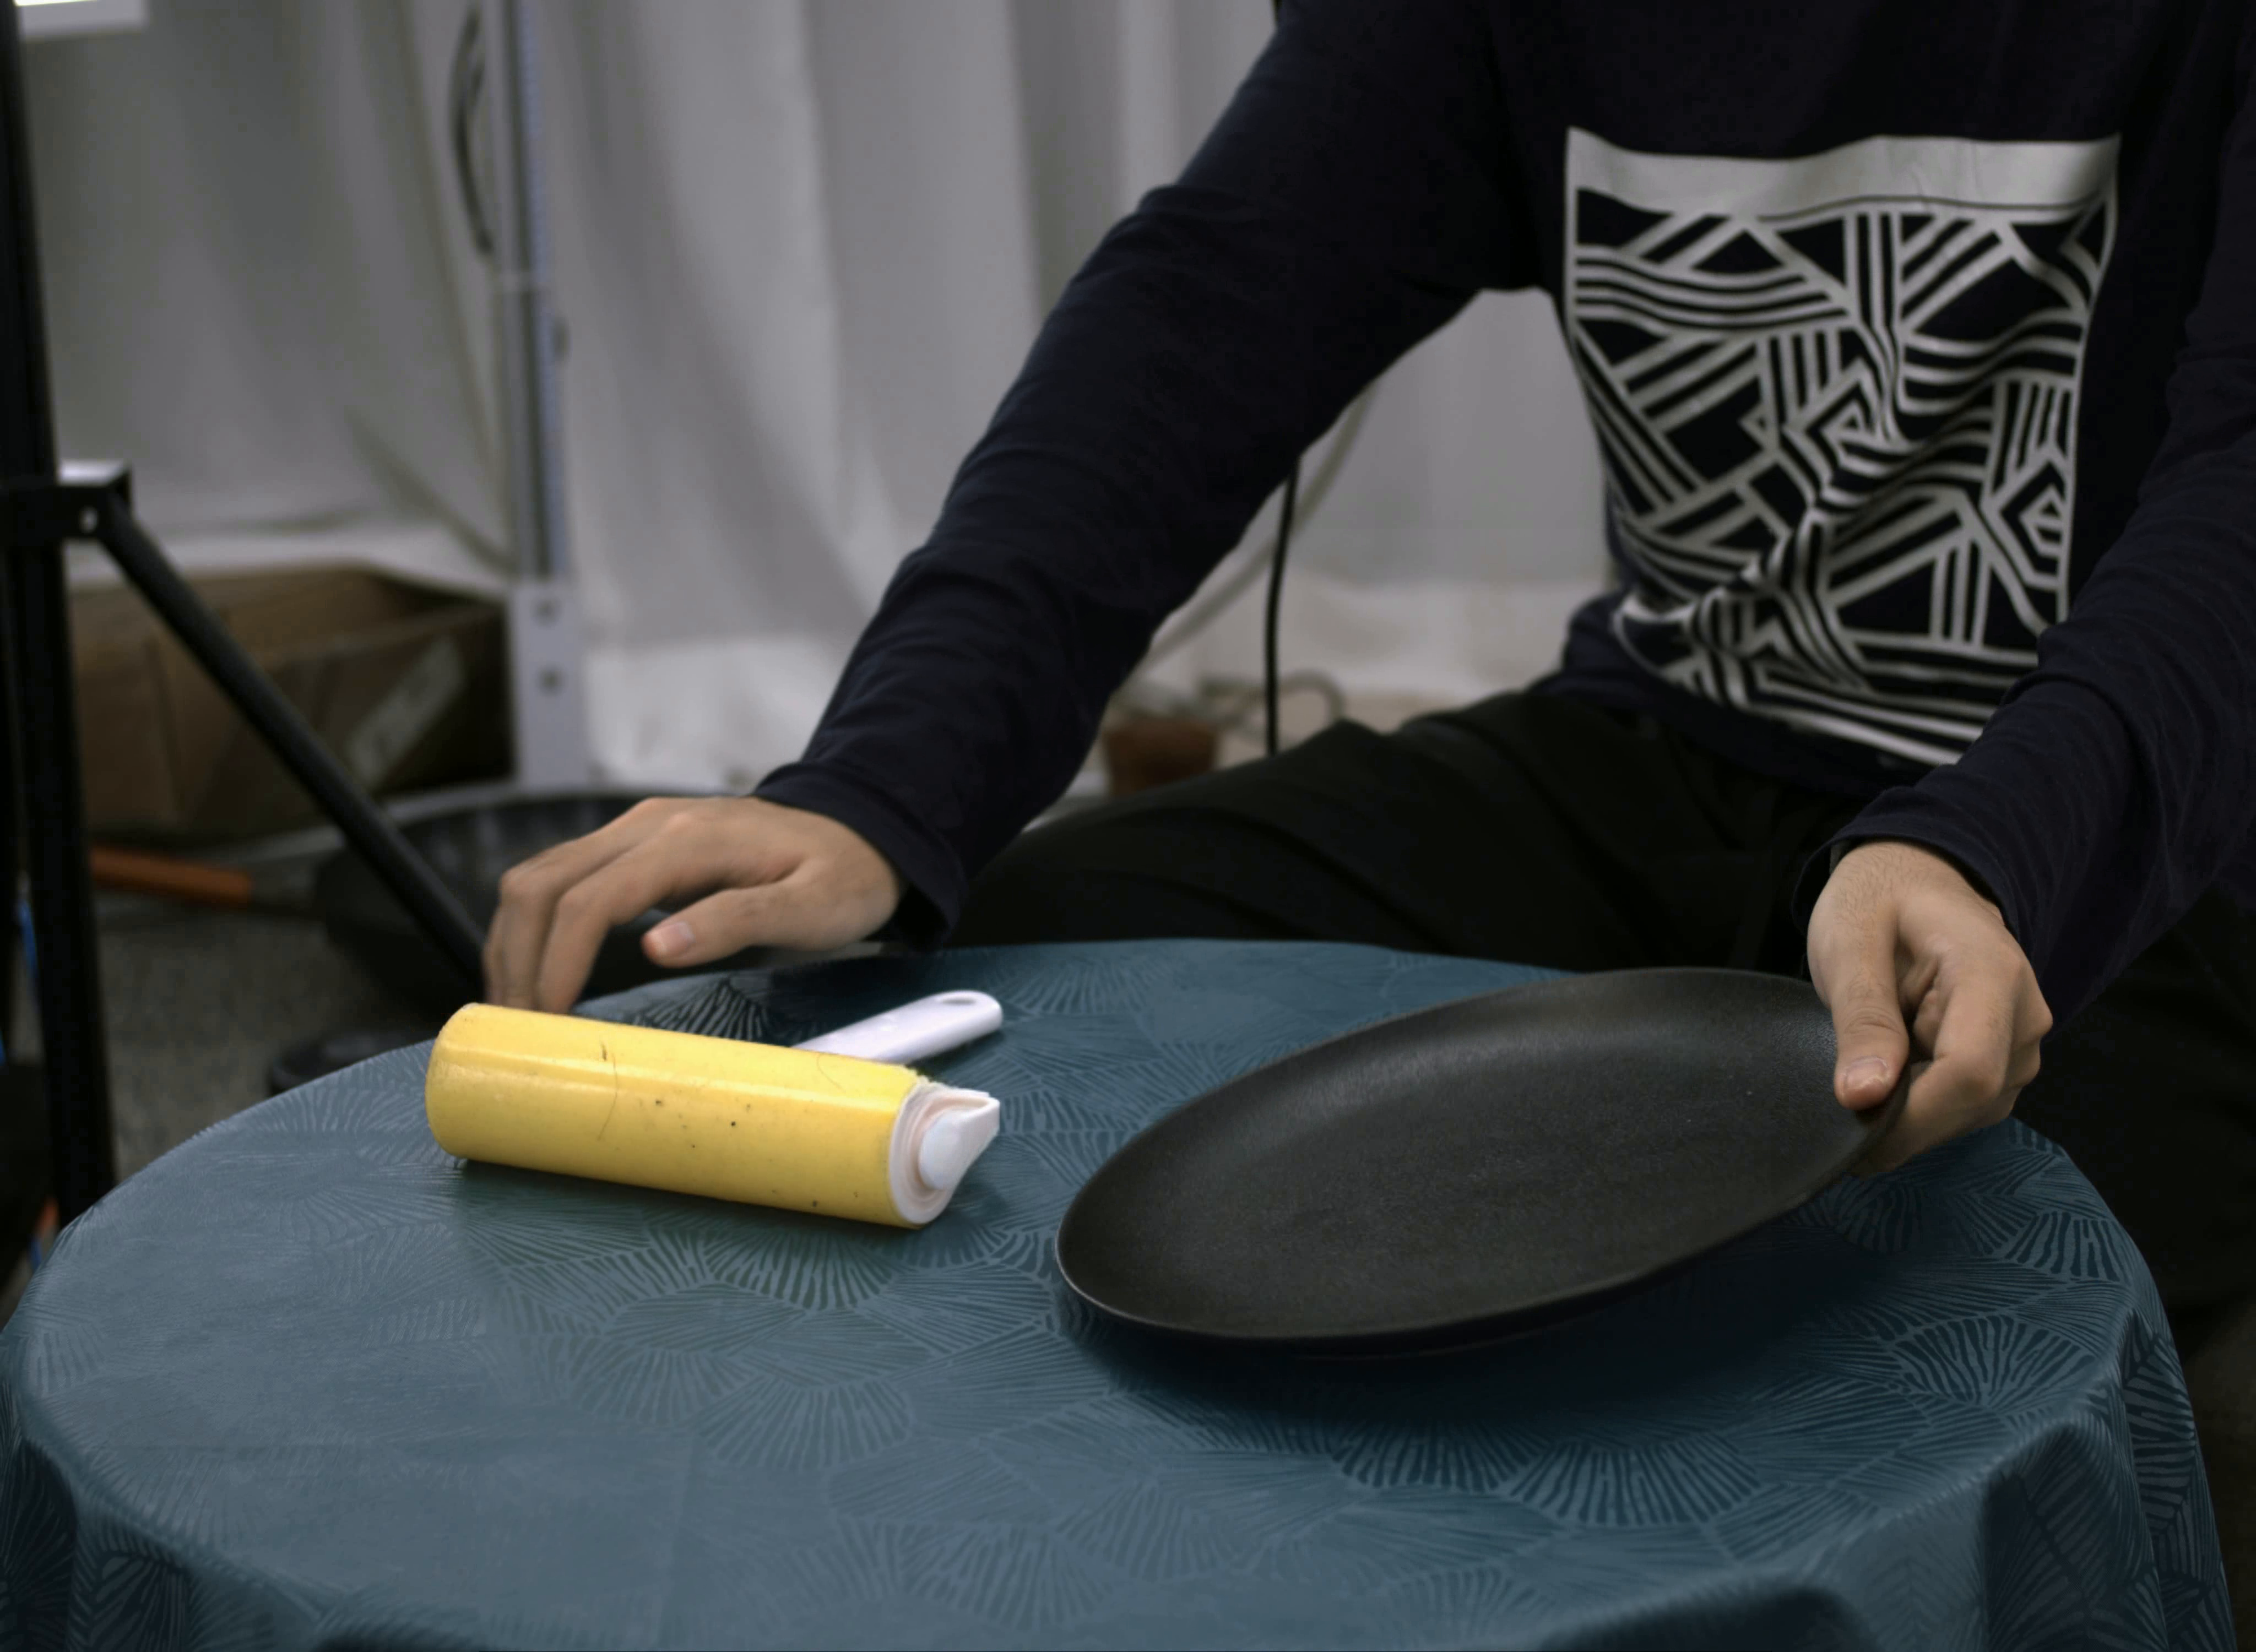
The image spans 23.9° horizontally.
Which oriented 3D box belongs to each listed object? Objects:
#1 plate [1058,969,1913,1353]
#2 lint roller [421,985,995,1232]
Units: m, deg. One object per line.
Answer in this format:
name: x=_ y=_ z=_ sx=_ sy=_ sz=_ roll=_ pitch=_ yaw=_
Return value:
plate: x=0.100 y=0.097 z=1.472 sx=0.244 sy=0.023 sz=0.246 roll=-15 pitch=16 yaw=3
lint roller: x=-0.098 y=0.066 z=1.637 sx=0.177 sy=0.051 sz=0.189 roll=7 pitch=21 yaw=27
